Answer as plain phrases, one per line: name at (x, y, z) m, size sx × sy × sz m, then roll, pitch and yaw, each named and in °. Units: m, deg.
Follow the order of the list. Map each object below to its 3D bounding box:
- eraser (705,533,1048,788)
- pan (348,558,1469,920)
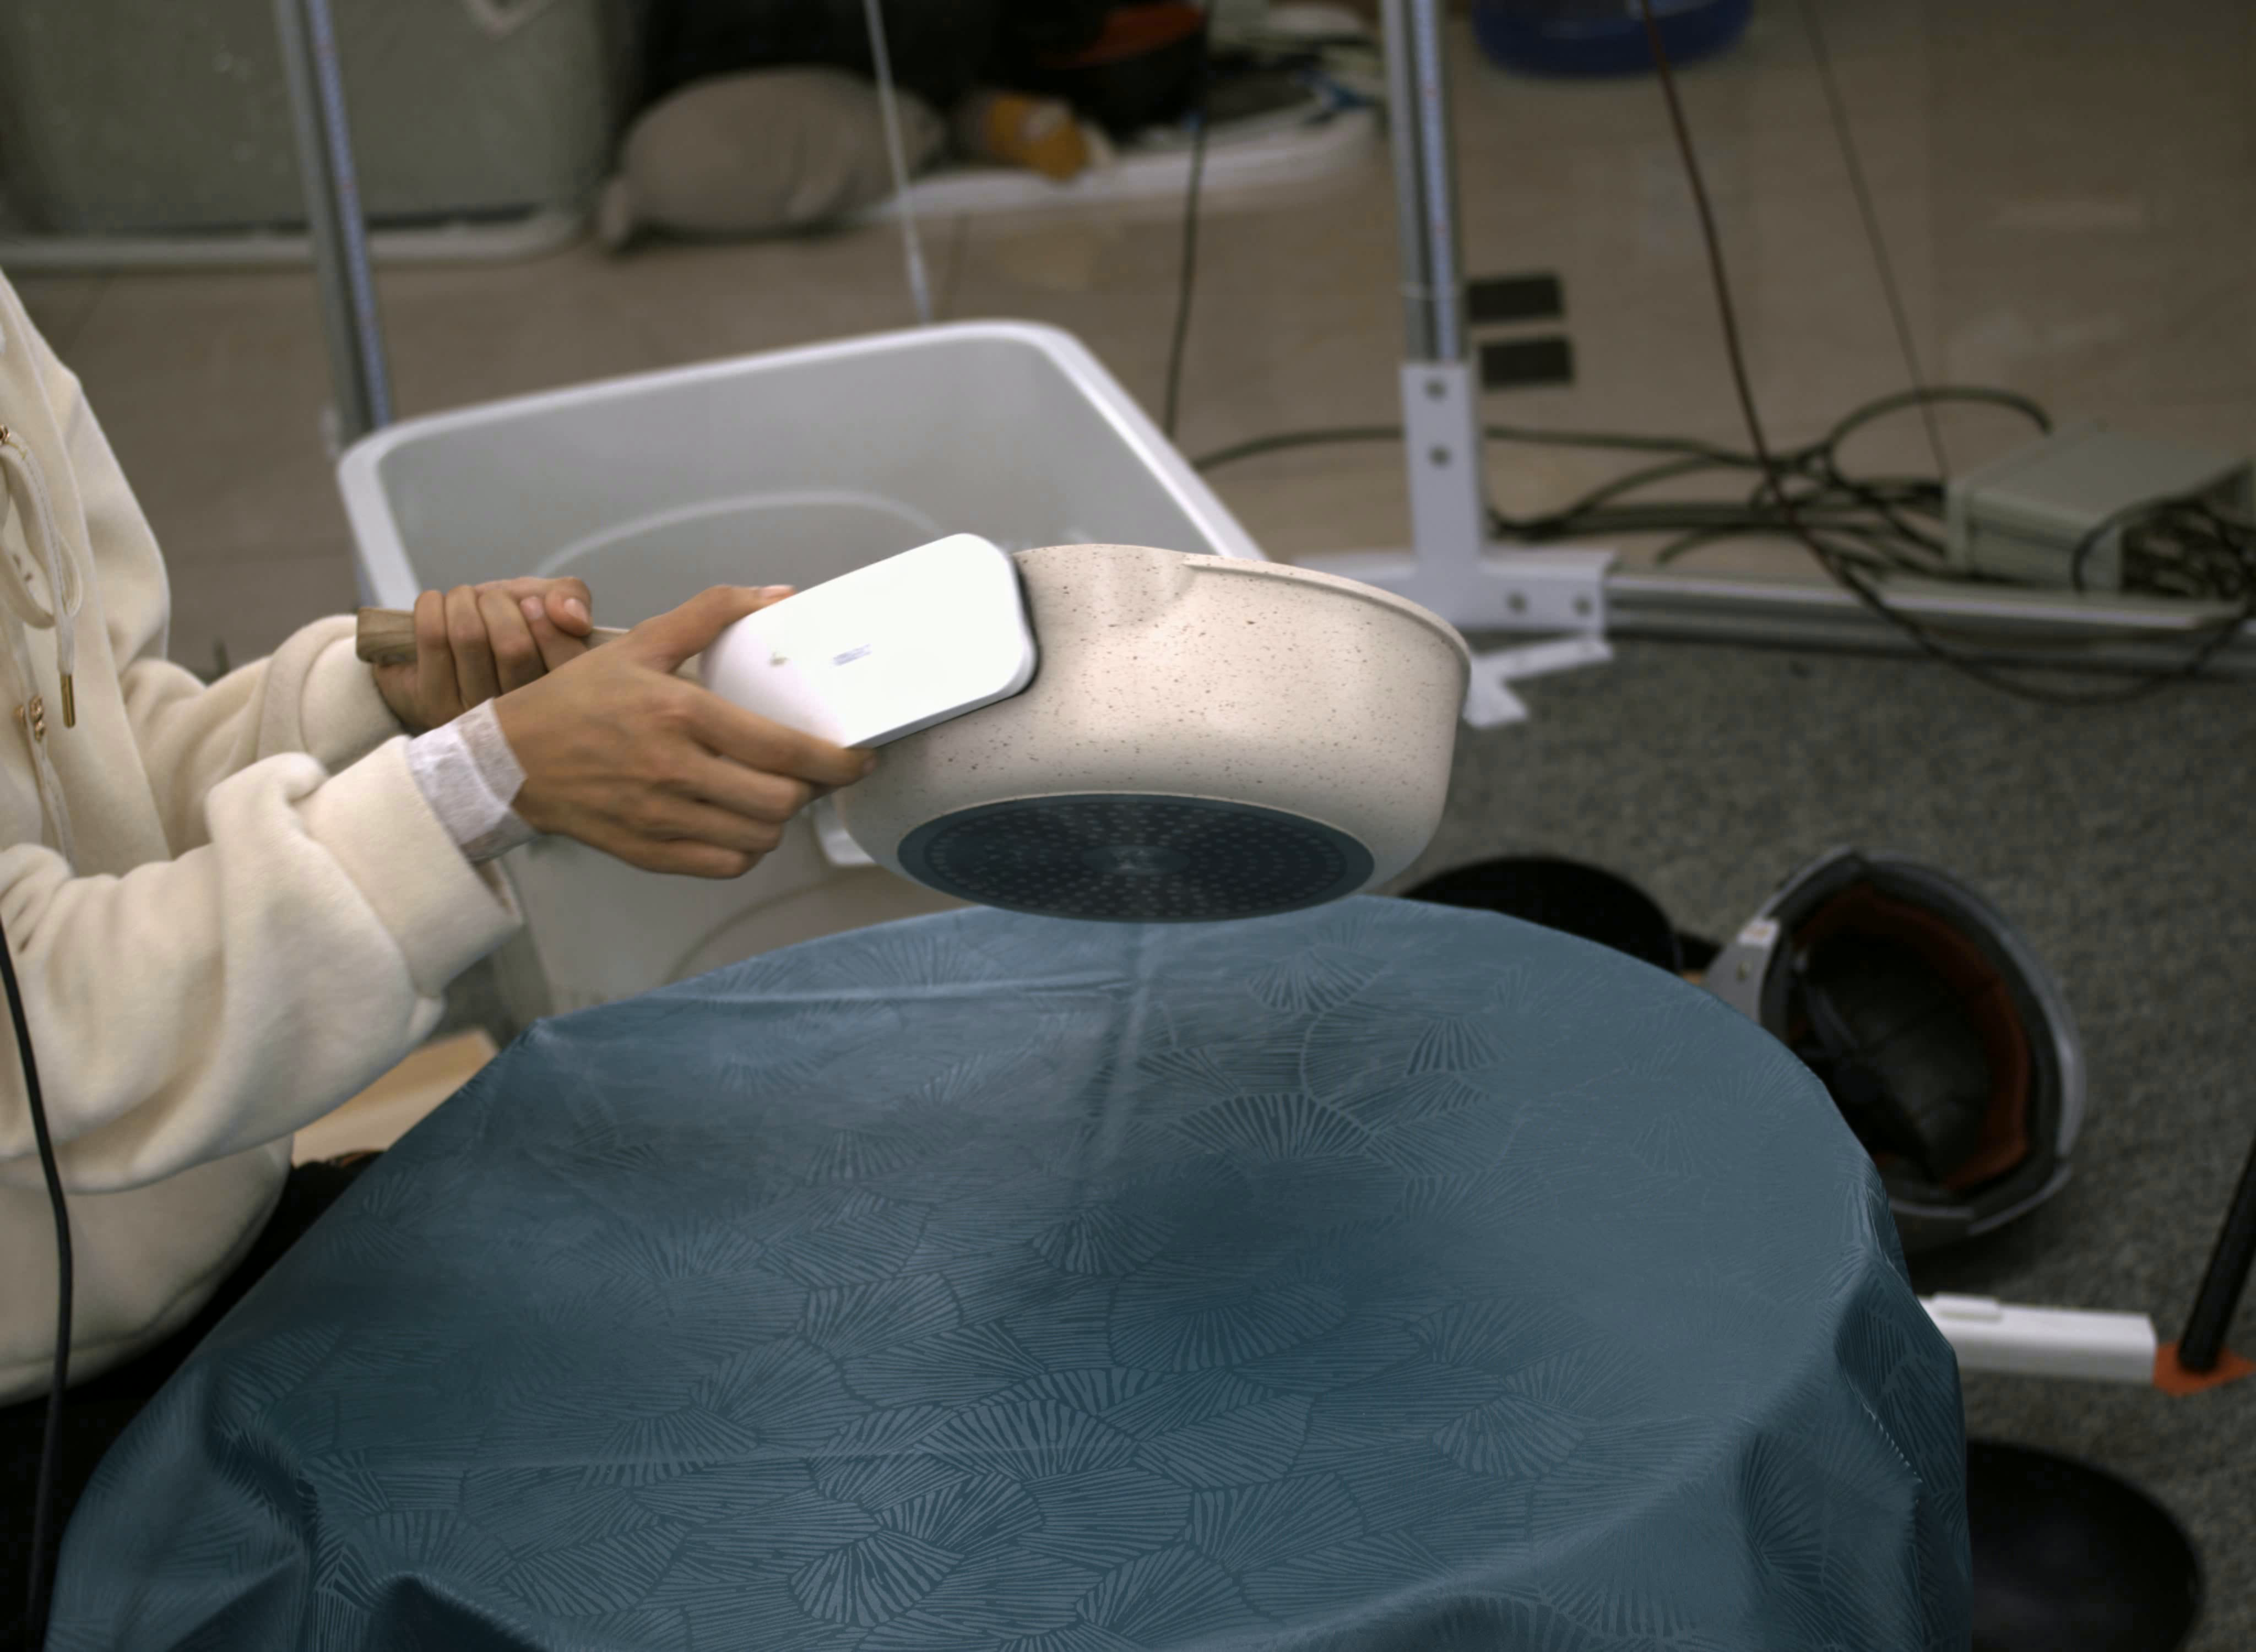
eraser at (-0.092, -0.060, 2.041) m, size 0.132 × 0.063 × 0.034 m, roll -20°, pitch -14°, yaw 25°
pan at (-0.088, -0.033, 2.158) m, size 0.434 × 0.101 × 0.265 m, roll 0°, pitch -14°, yaw 8°
